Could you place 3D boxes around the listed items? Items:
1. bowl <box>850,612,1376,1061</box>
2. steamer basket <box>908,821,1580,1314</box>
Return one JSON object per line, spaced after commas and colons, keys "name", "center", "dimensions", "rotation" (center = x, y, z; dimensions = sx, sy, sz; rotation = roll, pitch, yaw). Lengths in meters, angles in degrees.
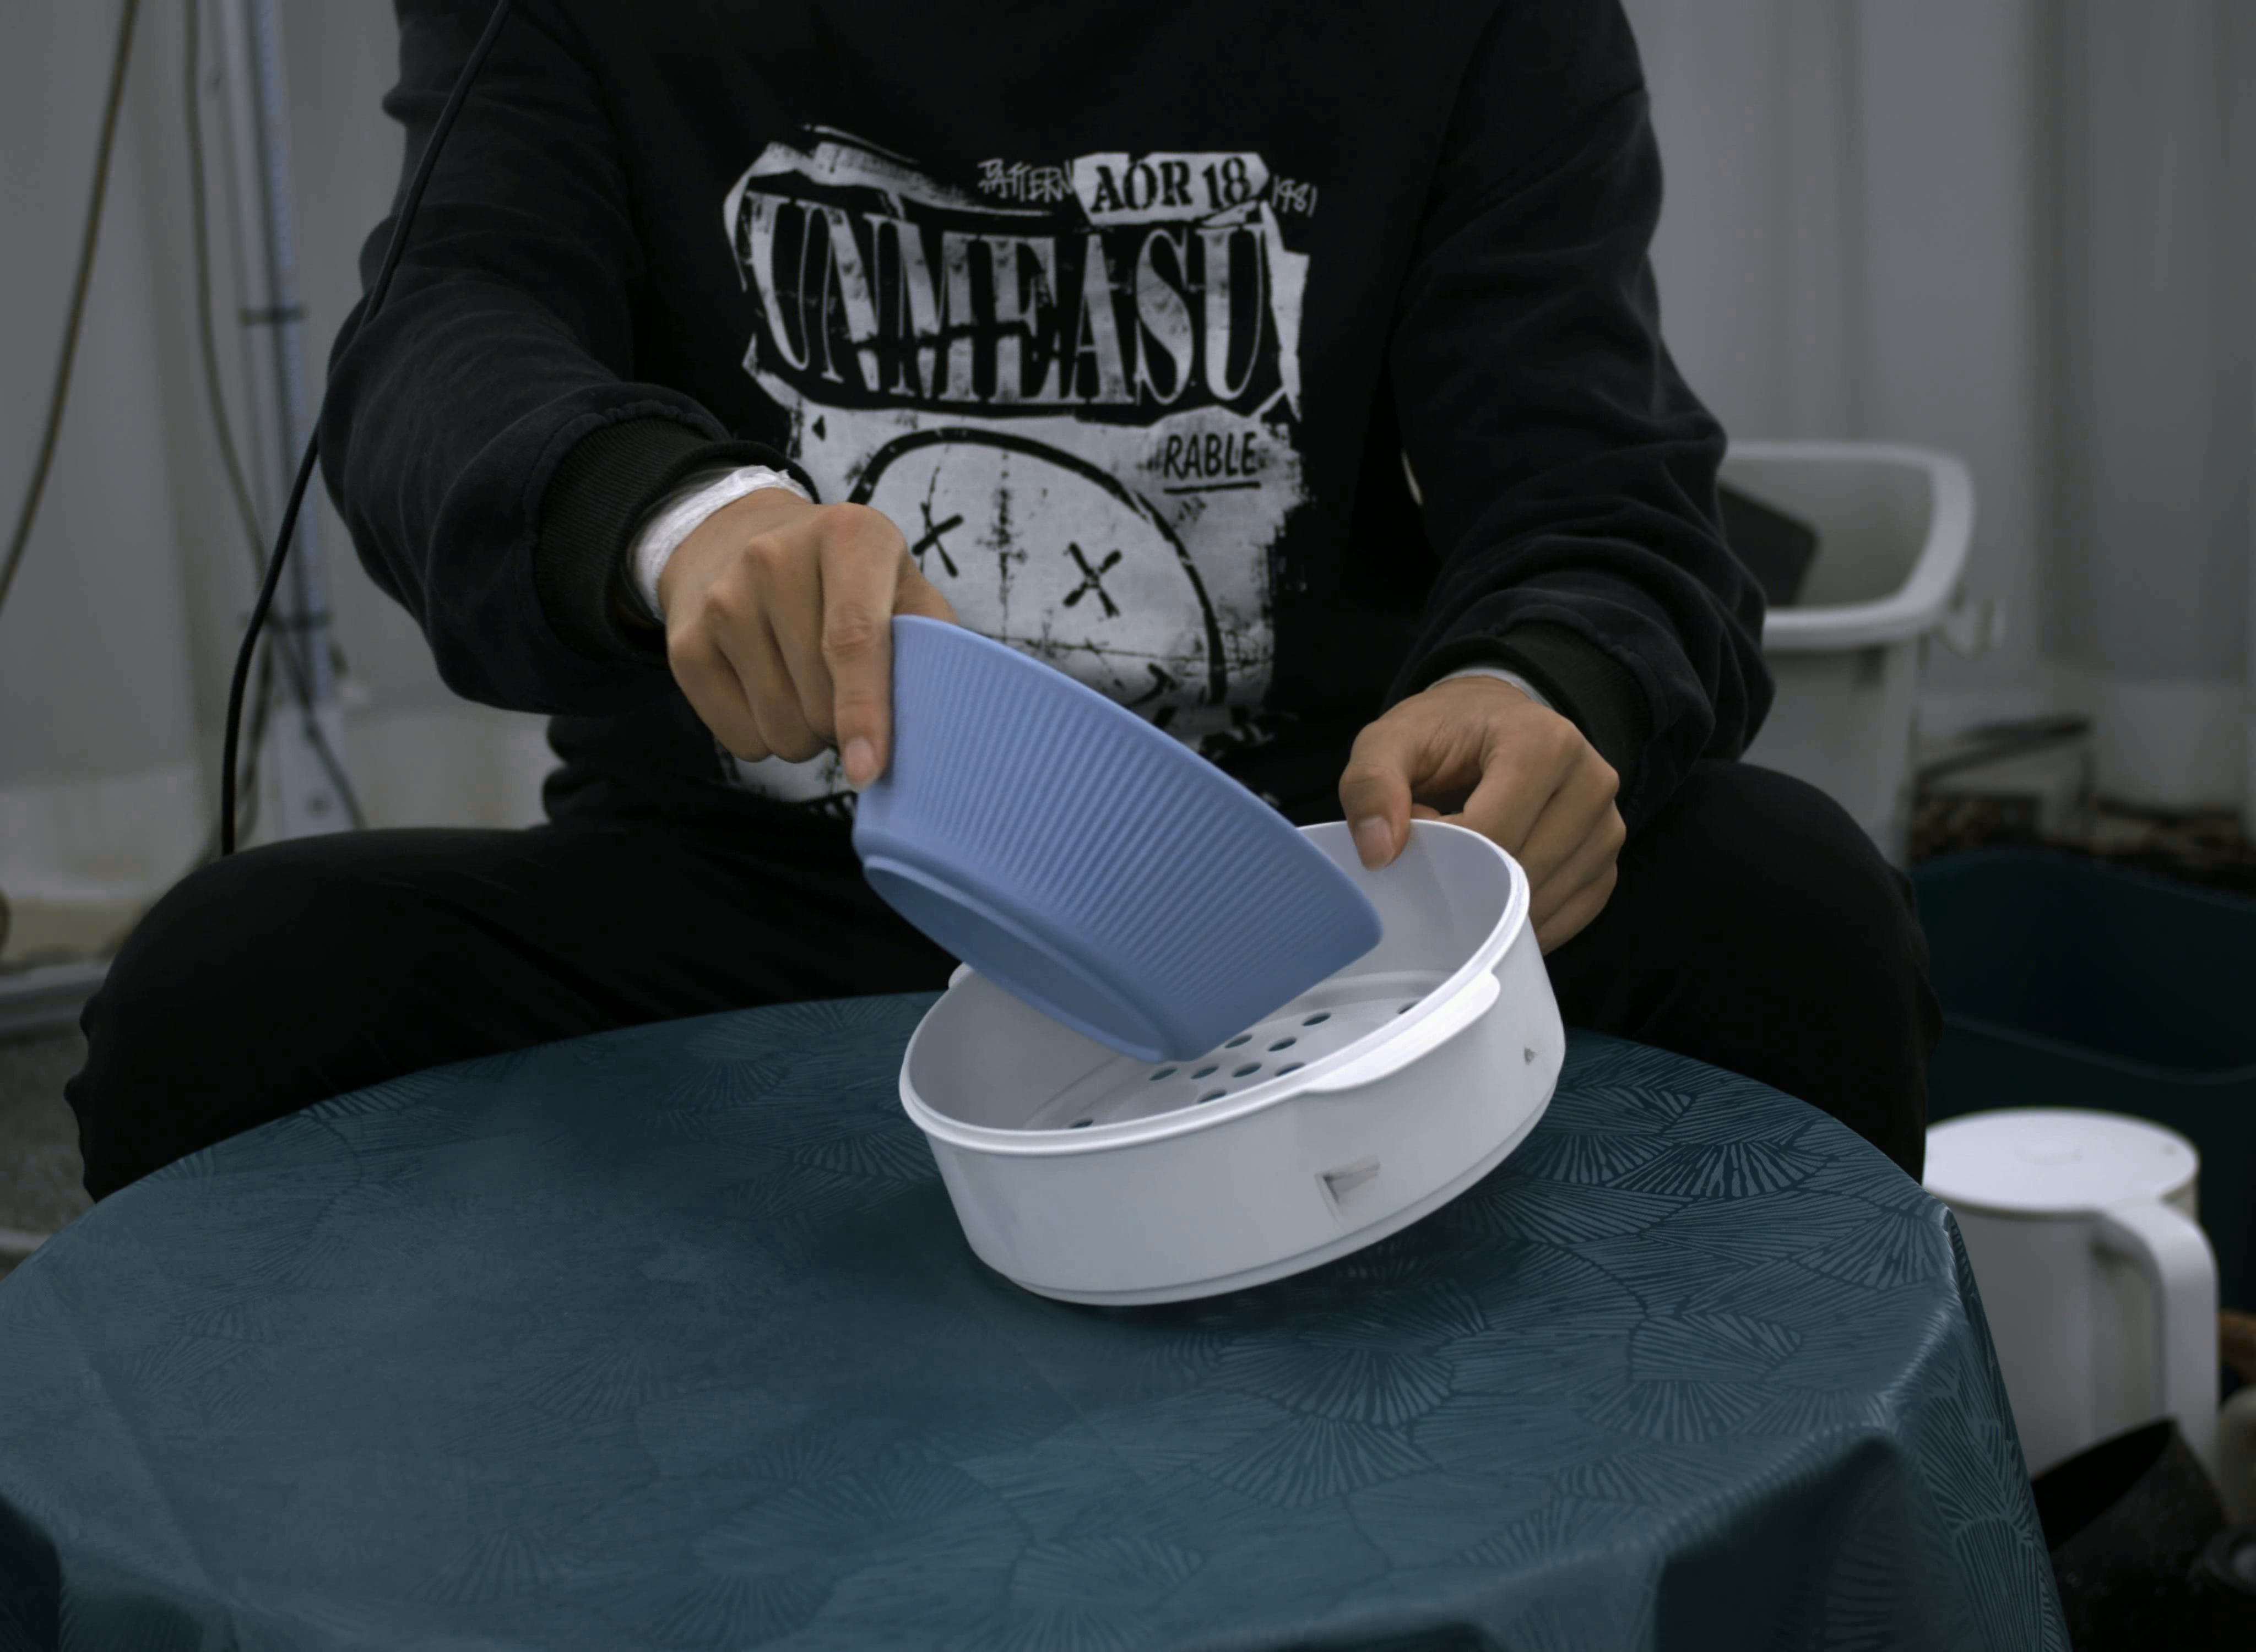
{"name": "bowl", "center": [-0.017, 0.012, 1.629], "dimensions": [0.176, 0.070, 0.175], "rotation": [32, -11, 7]}
{"name": "steamer basket", "center": [0.038, 0.073, 1.653], "dimensions": [0.202, 0.069, 0.232], "rotation": [-30, 24, -28]}
